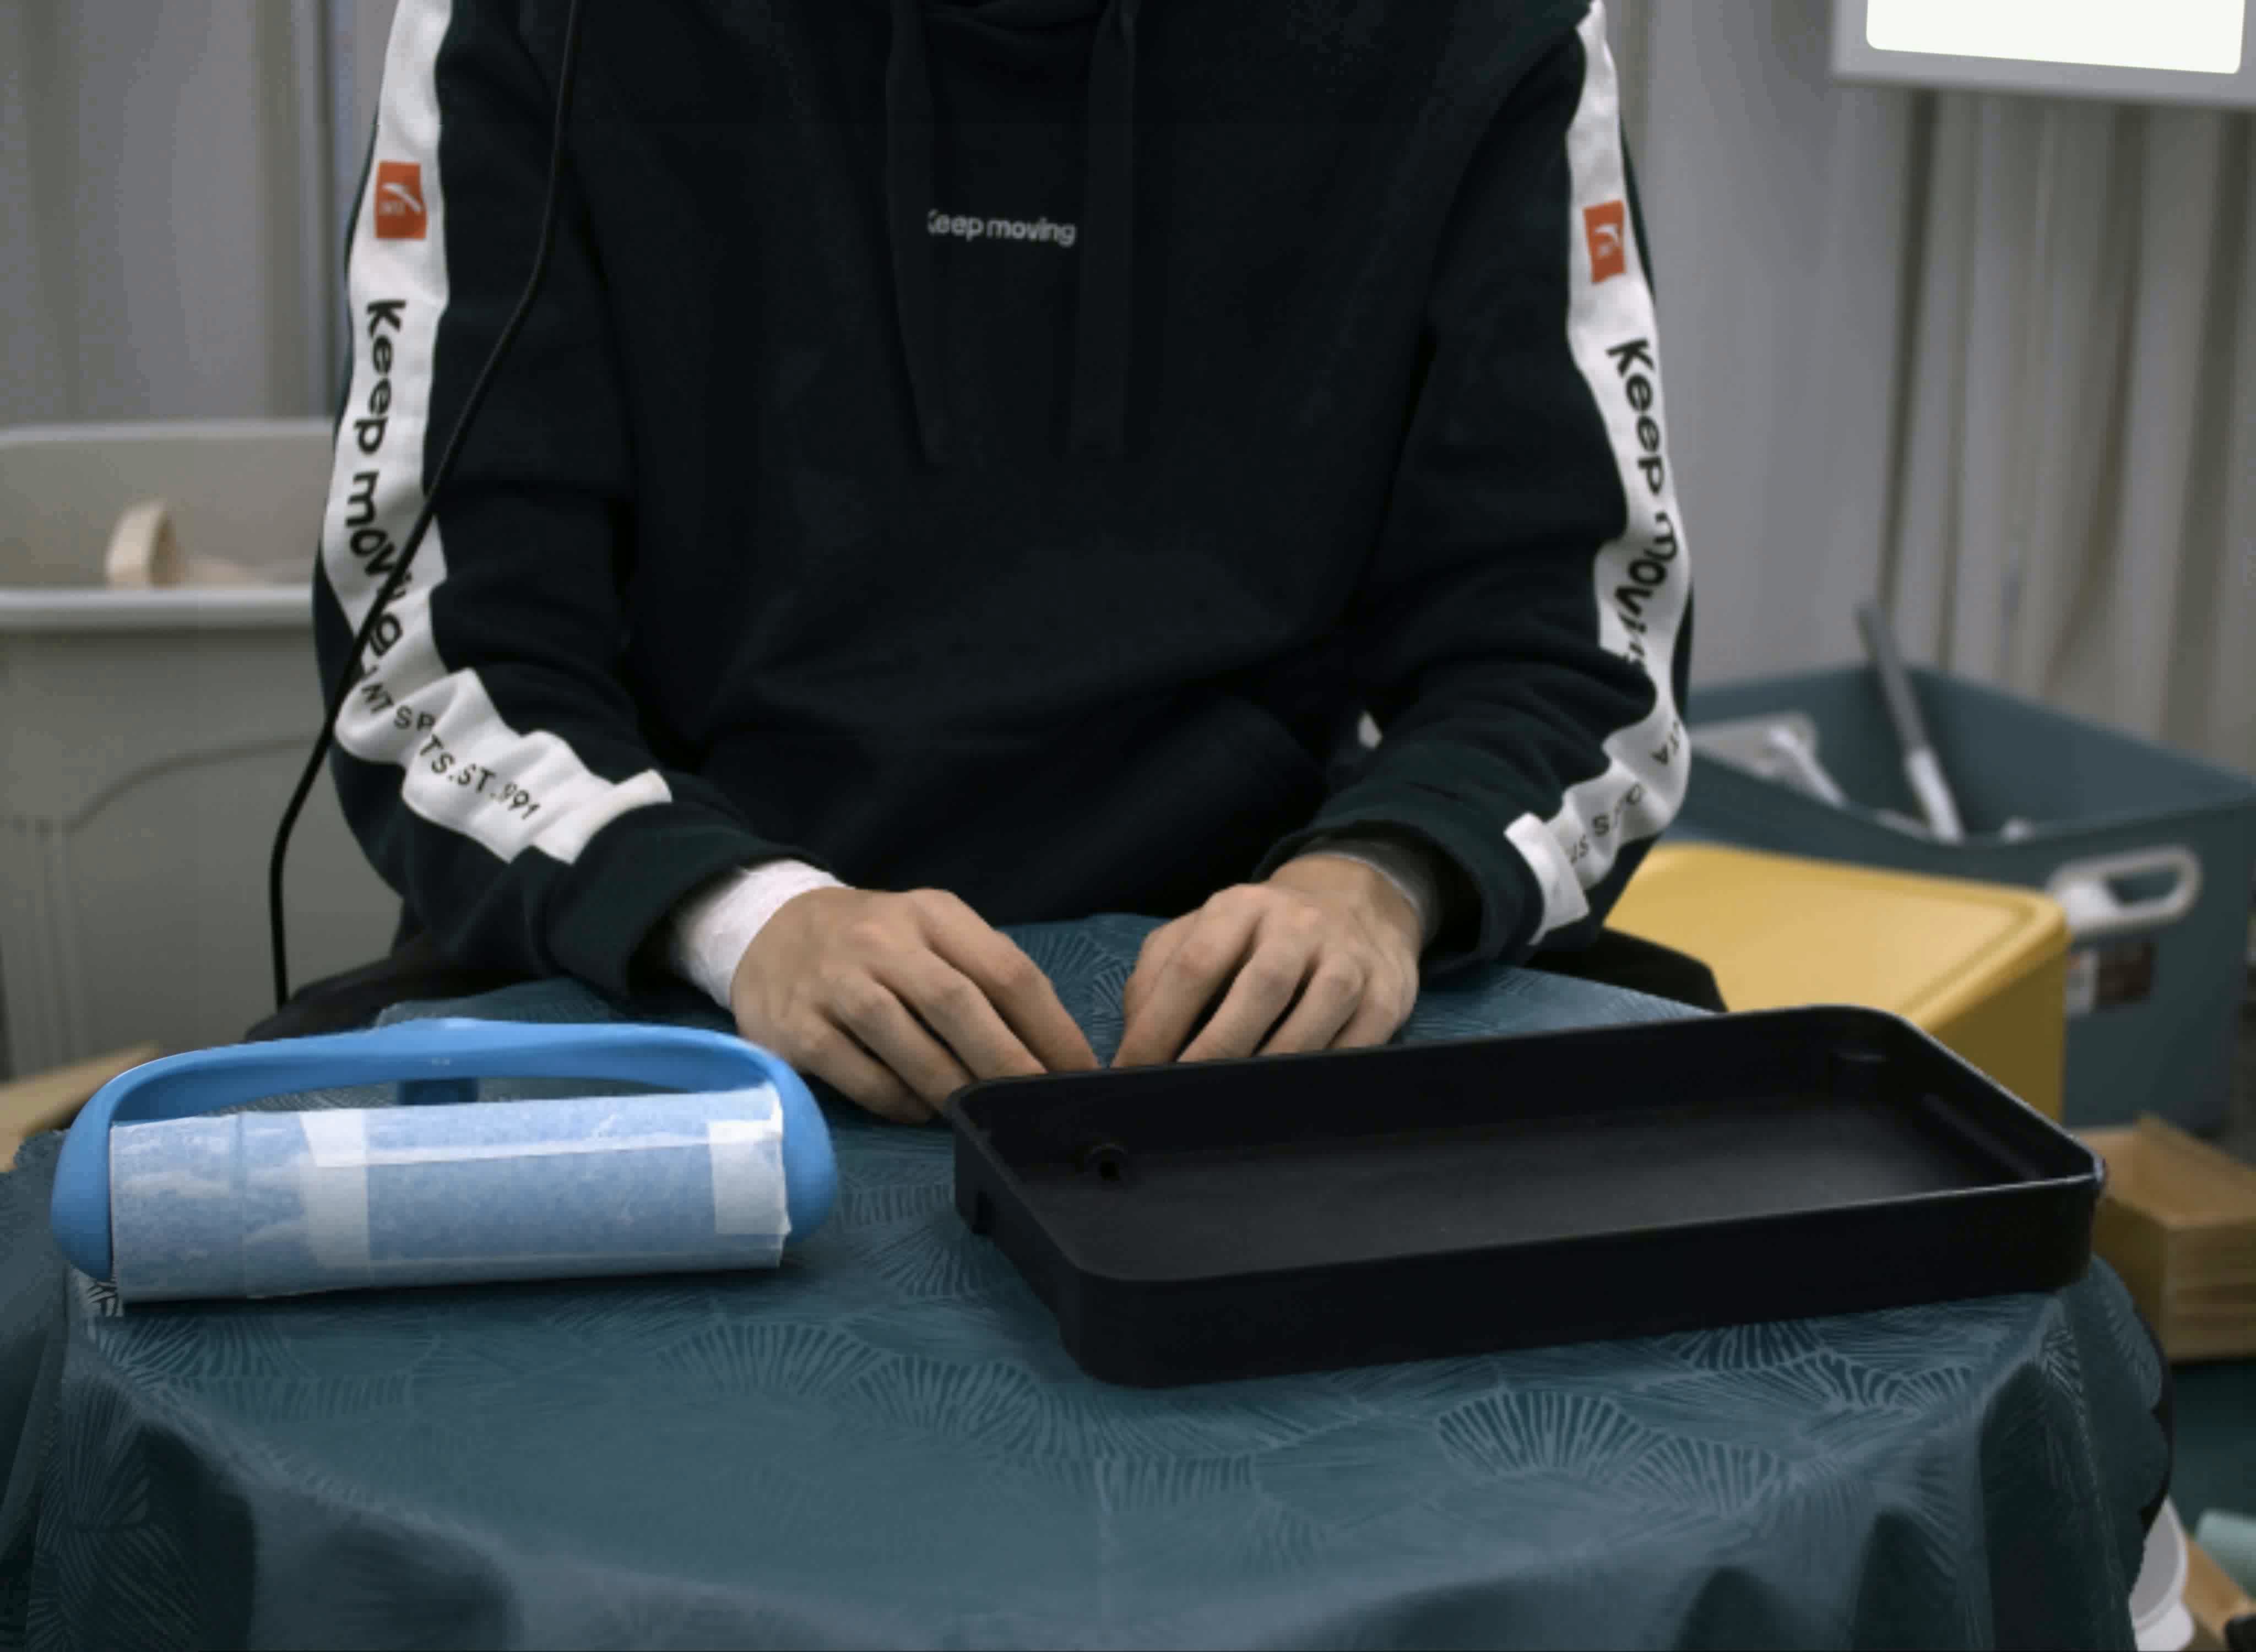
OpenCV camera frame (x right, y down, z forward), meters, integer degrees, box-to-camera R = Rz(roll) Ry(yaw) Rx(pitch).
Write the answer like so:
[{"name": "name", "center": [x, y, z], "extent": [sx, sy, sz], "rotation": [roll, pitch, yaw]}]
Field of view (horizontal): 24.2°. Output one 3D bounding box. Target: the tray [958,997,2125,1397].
[{"name": "tray", "center": [0.121, 0.107, 1.578], "extent": [0.318, 0.037, 0.182], "rotation": [-6, 16, -18]}]

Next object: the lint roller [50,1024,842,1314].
[{"name": "lint roller", "center": [-0.209, 0.090, 1.586], "extent": [0.229, 0.068, 0.178], "rotation": [-5, 18, -11]}]
